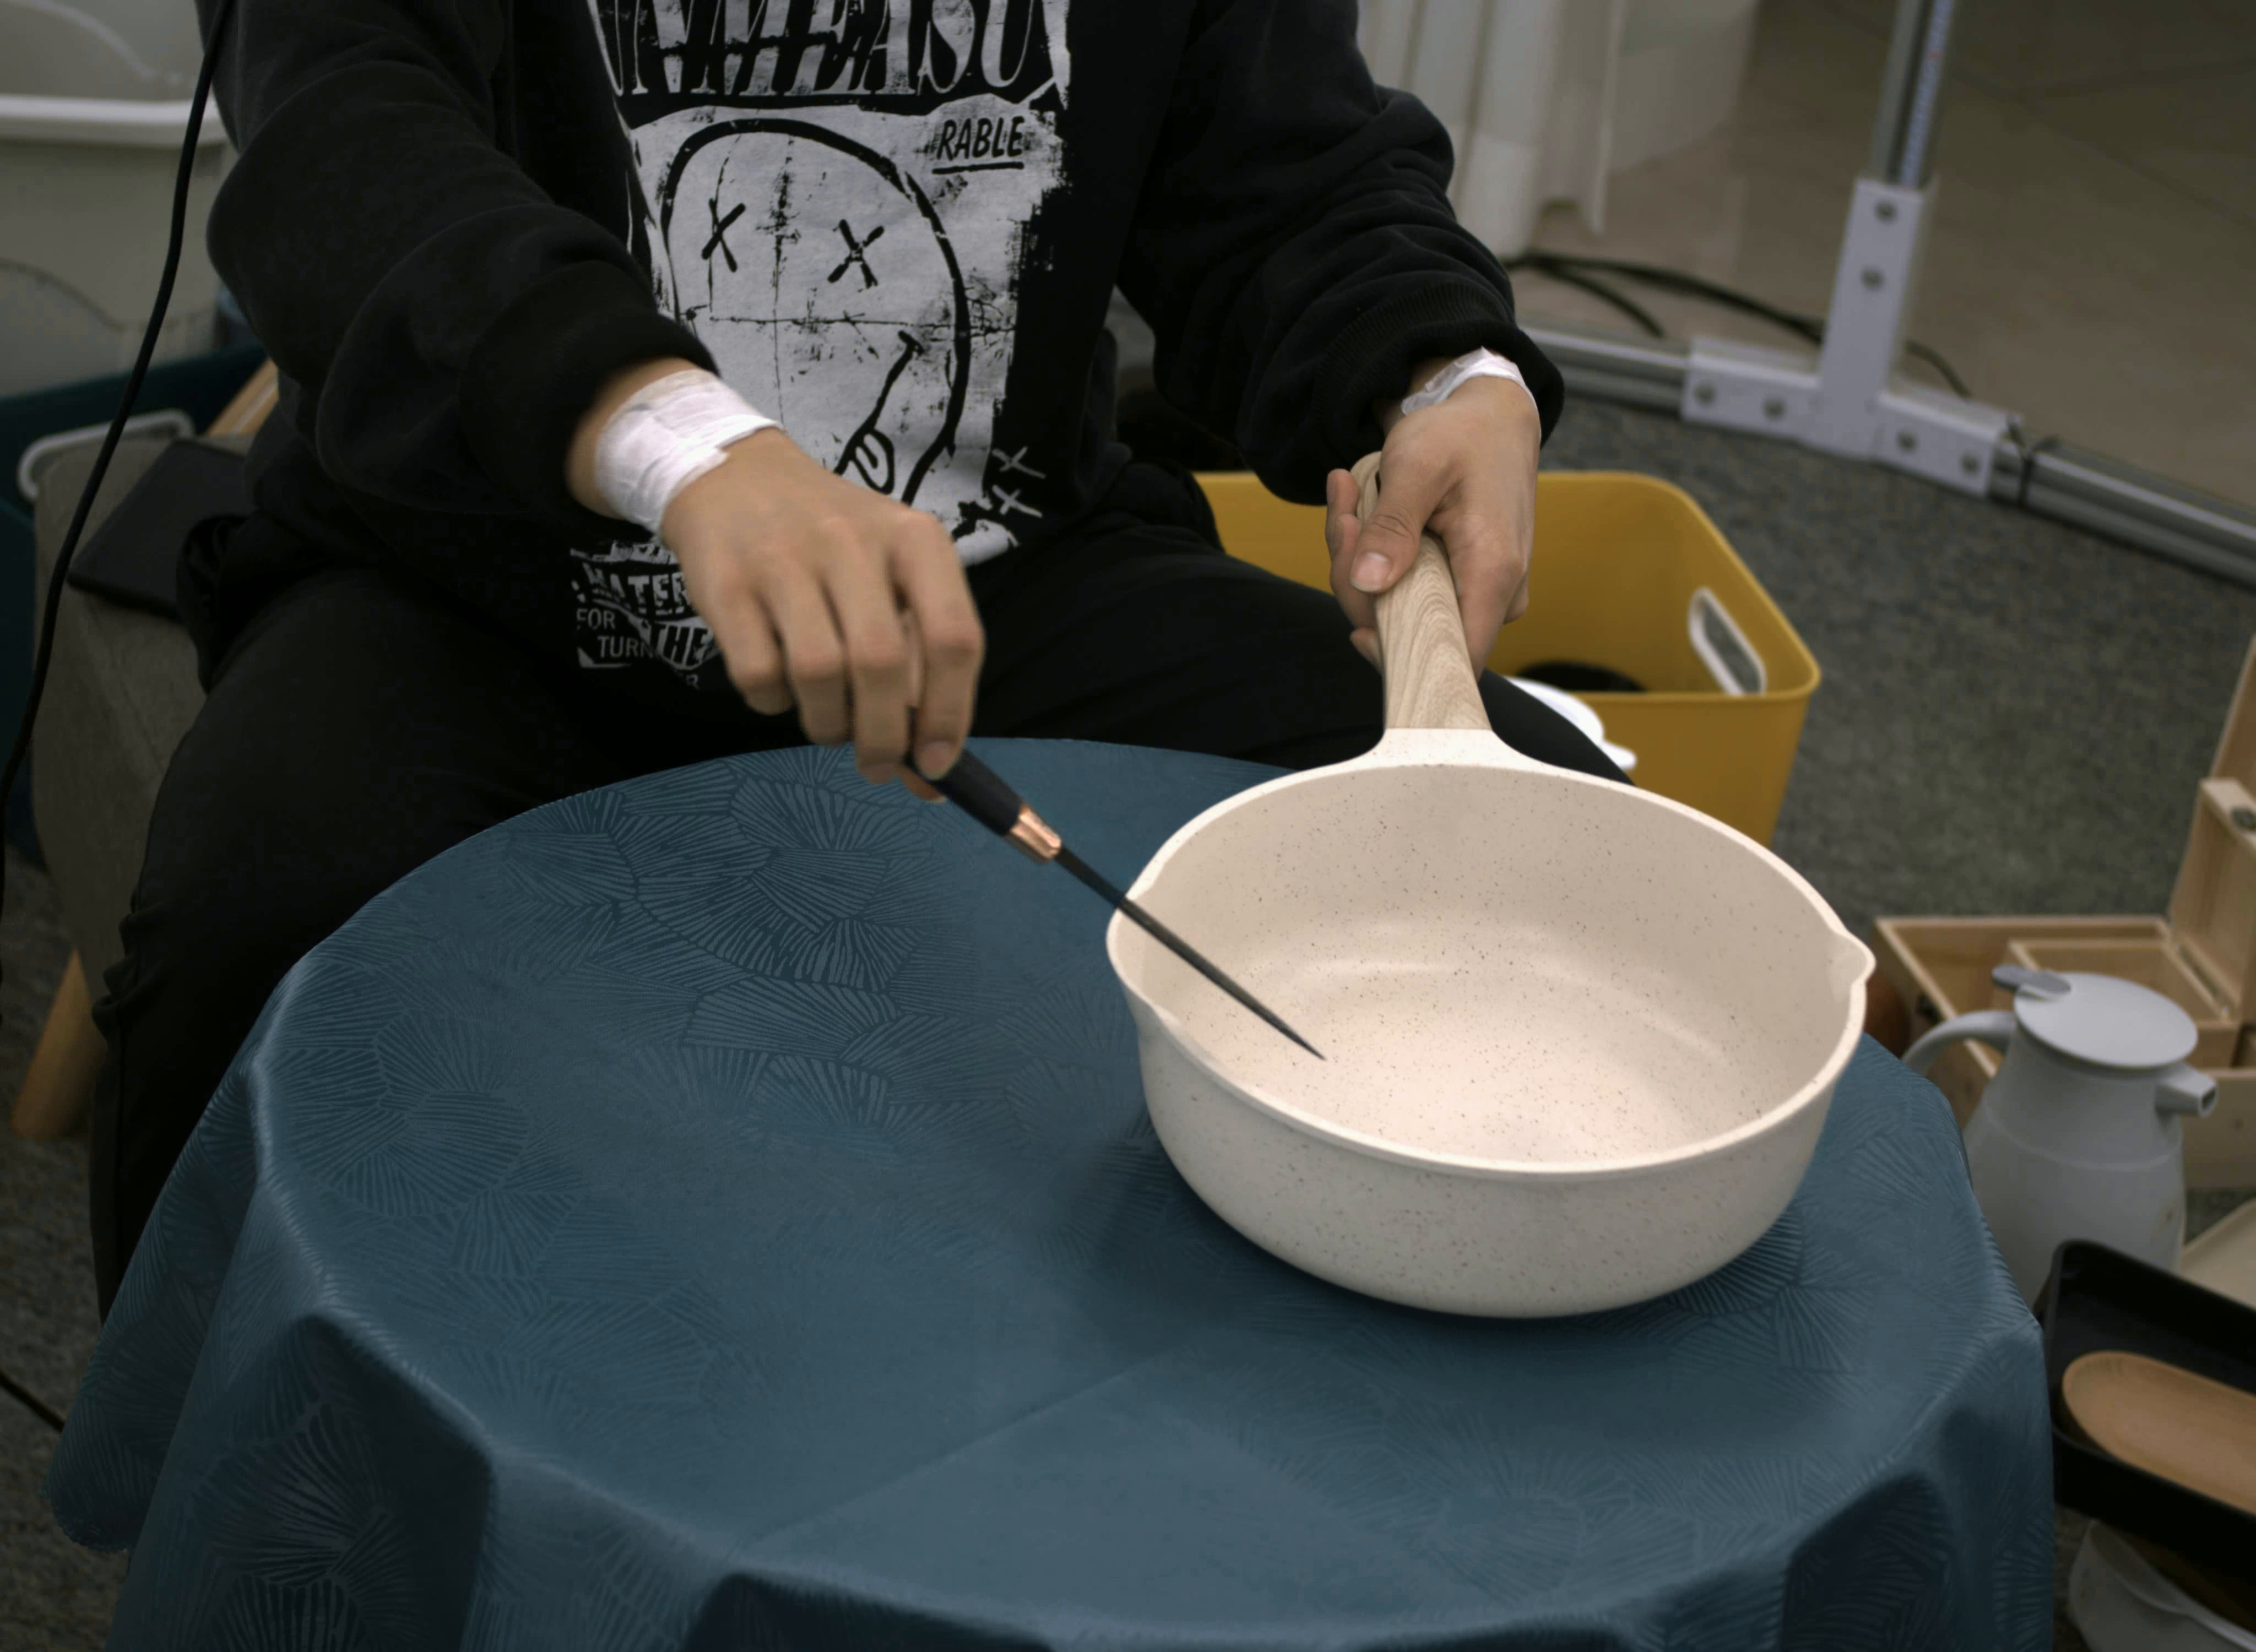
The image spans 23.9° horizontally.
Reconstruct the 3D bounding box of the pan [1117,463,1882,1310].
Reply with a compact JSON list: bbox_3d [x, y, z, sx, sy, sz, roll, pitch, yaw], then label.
[{"bbox_3d":[0.116,0.019,1.893,0.262,0.101,0.438,-1,32,-6],"label":"pan"}]

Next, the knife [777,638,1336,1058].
[{"bbox_3d":[-0.021,0.009,1.727,0.225,0.017,0.026,37,4,-5],"label":"knife"}]
